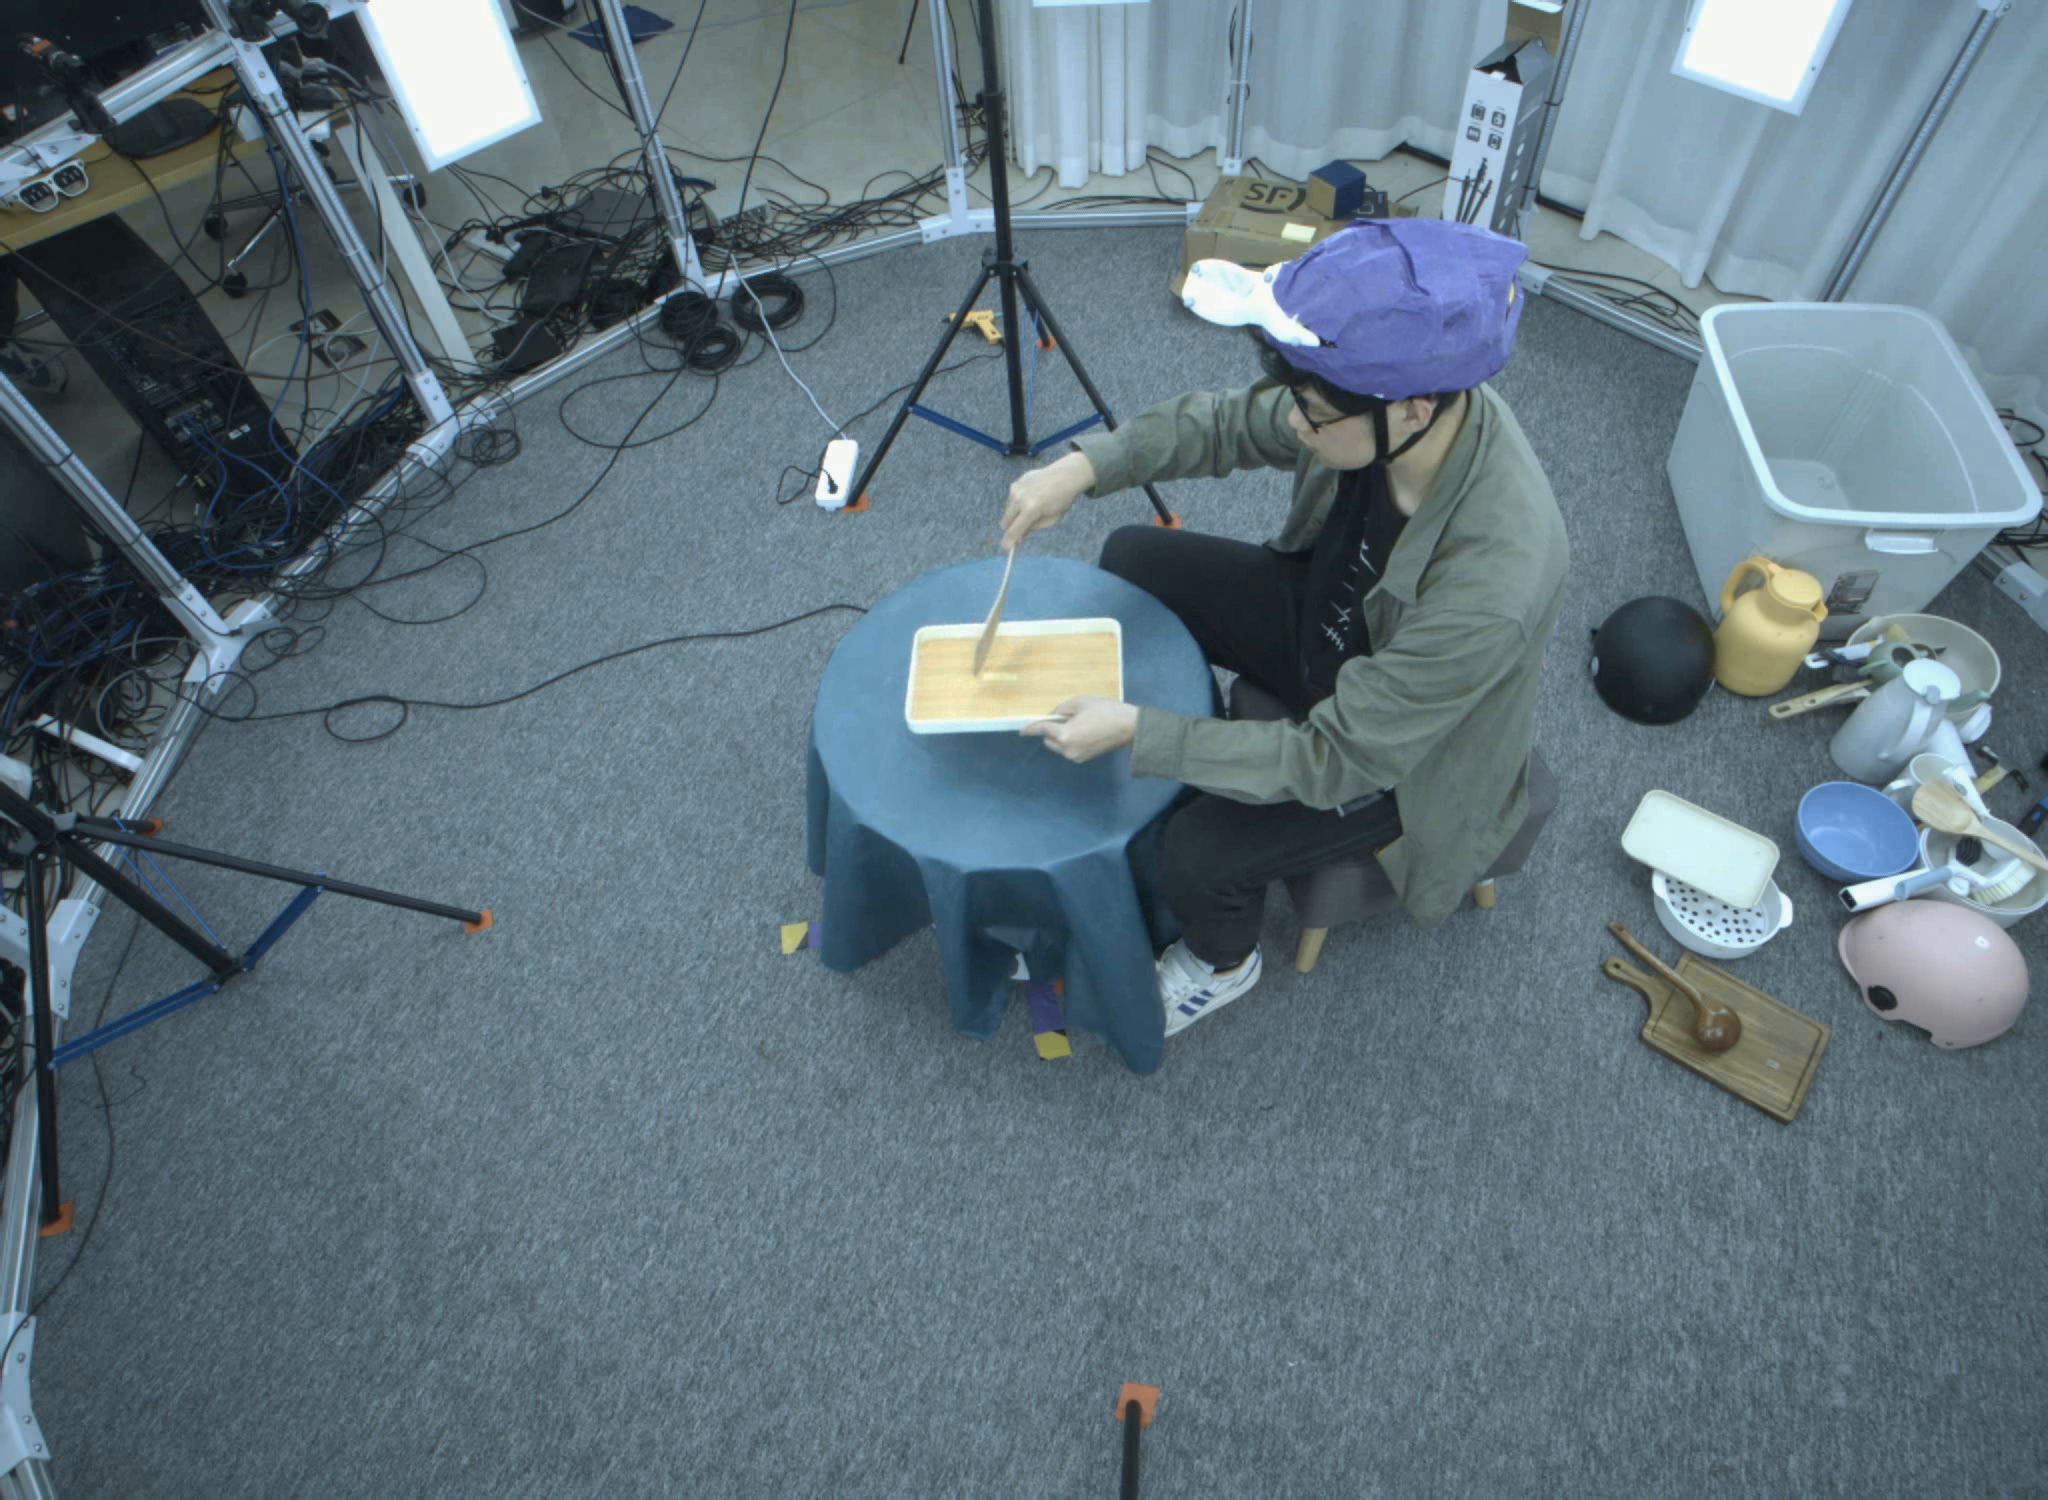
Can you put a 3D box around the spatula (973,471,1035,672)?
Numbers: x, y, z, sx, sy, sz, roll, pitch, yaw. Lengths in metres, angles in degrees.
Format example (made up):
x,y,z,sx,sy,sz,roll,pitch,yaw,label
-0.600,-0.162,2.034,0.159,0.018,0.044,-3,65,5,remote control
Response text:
x,y,z,sx,sy,sz,roll,pitch,yaw,label
-0.028,-0.266,1.743,0.016,0.080,0.326,12,67,4,spatula

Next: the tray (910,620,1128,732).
x,y,z,sx,sy,sz,roll,pitch,yaw,label
-0.004,-0.106,1.736,0.300,0.028,0.189,0,51,3,tray
